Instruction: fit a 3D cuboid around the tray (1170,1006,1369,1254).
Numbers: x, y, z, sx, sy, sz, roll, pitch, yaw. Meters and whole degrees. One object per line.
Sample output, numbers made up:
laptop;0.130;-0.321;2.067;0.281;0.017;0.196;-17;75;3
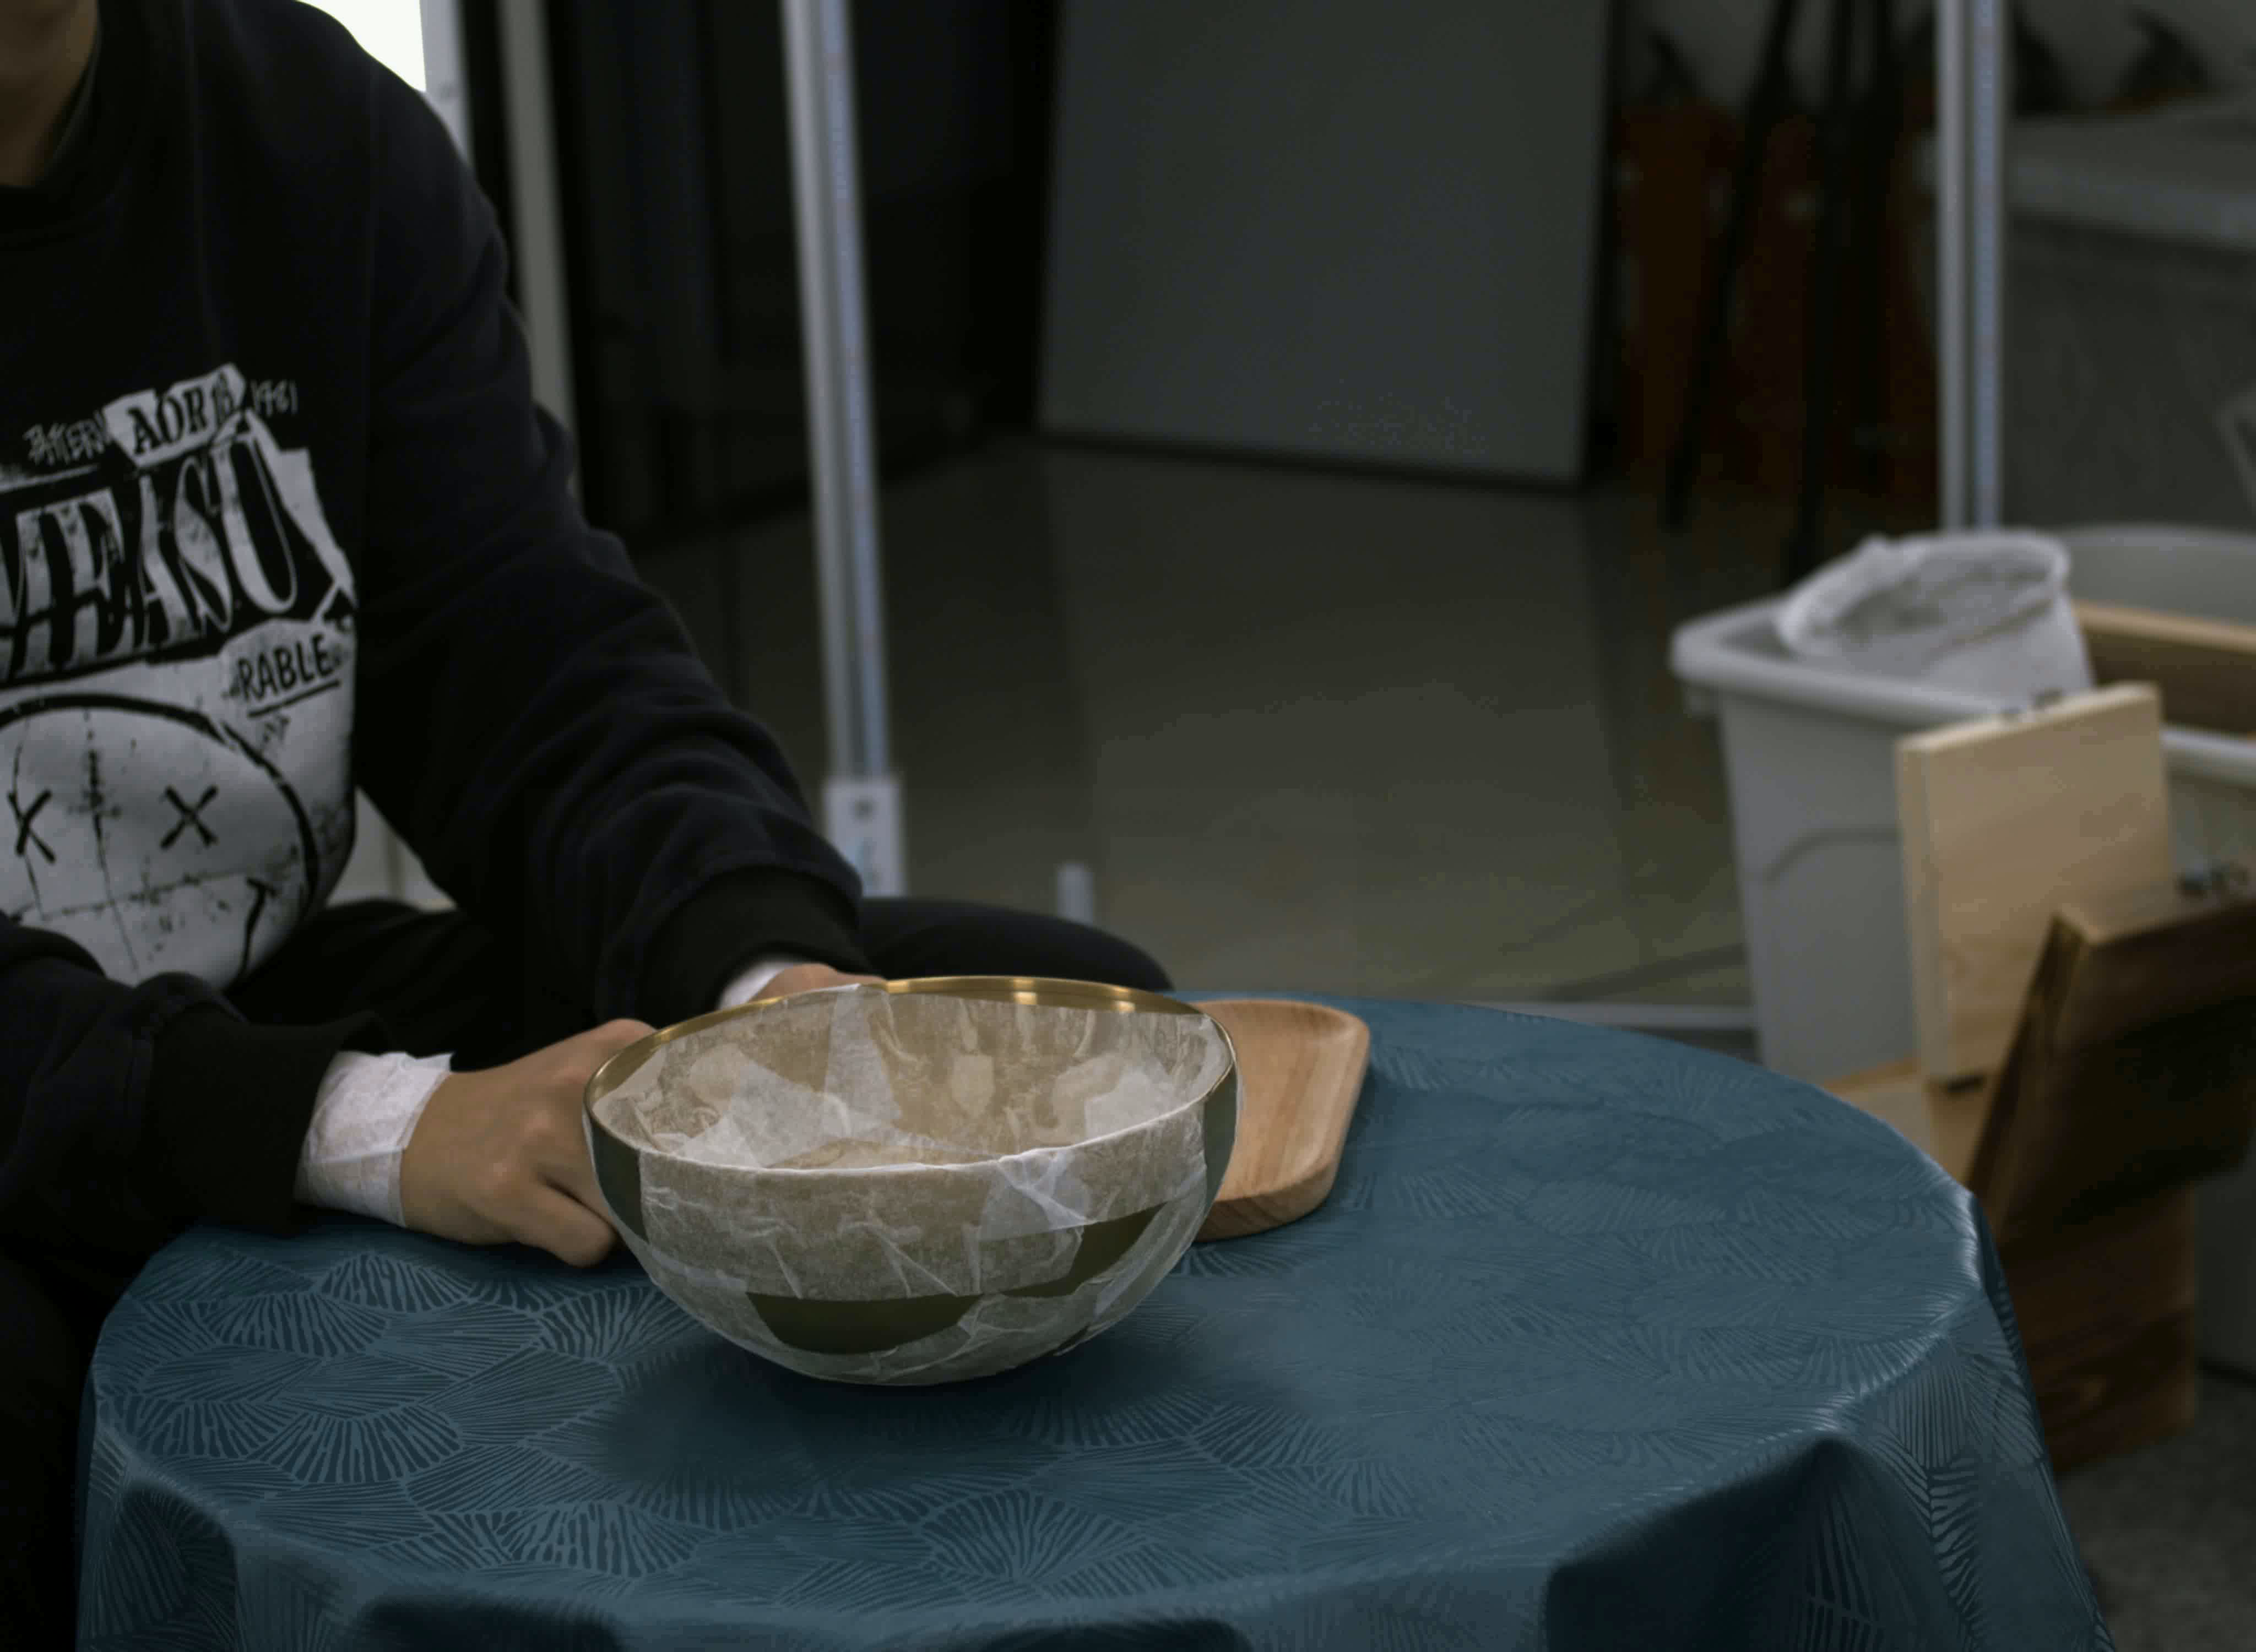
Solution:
tray;0.028;0.100;1.816;0.101;0.020;0.231;-5;15;8

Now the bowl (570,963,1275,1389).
bowl;-0.060;0.113;1.626;0.212;0.095;0.215;-5;14;0
